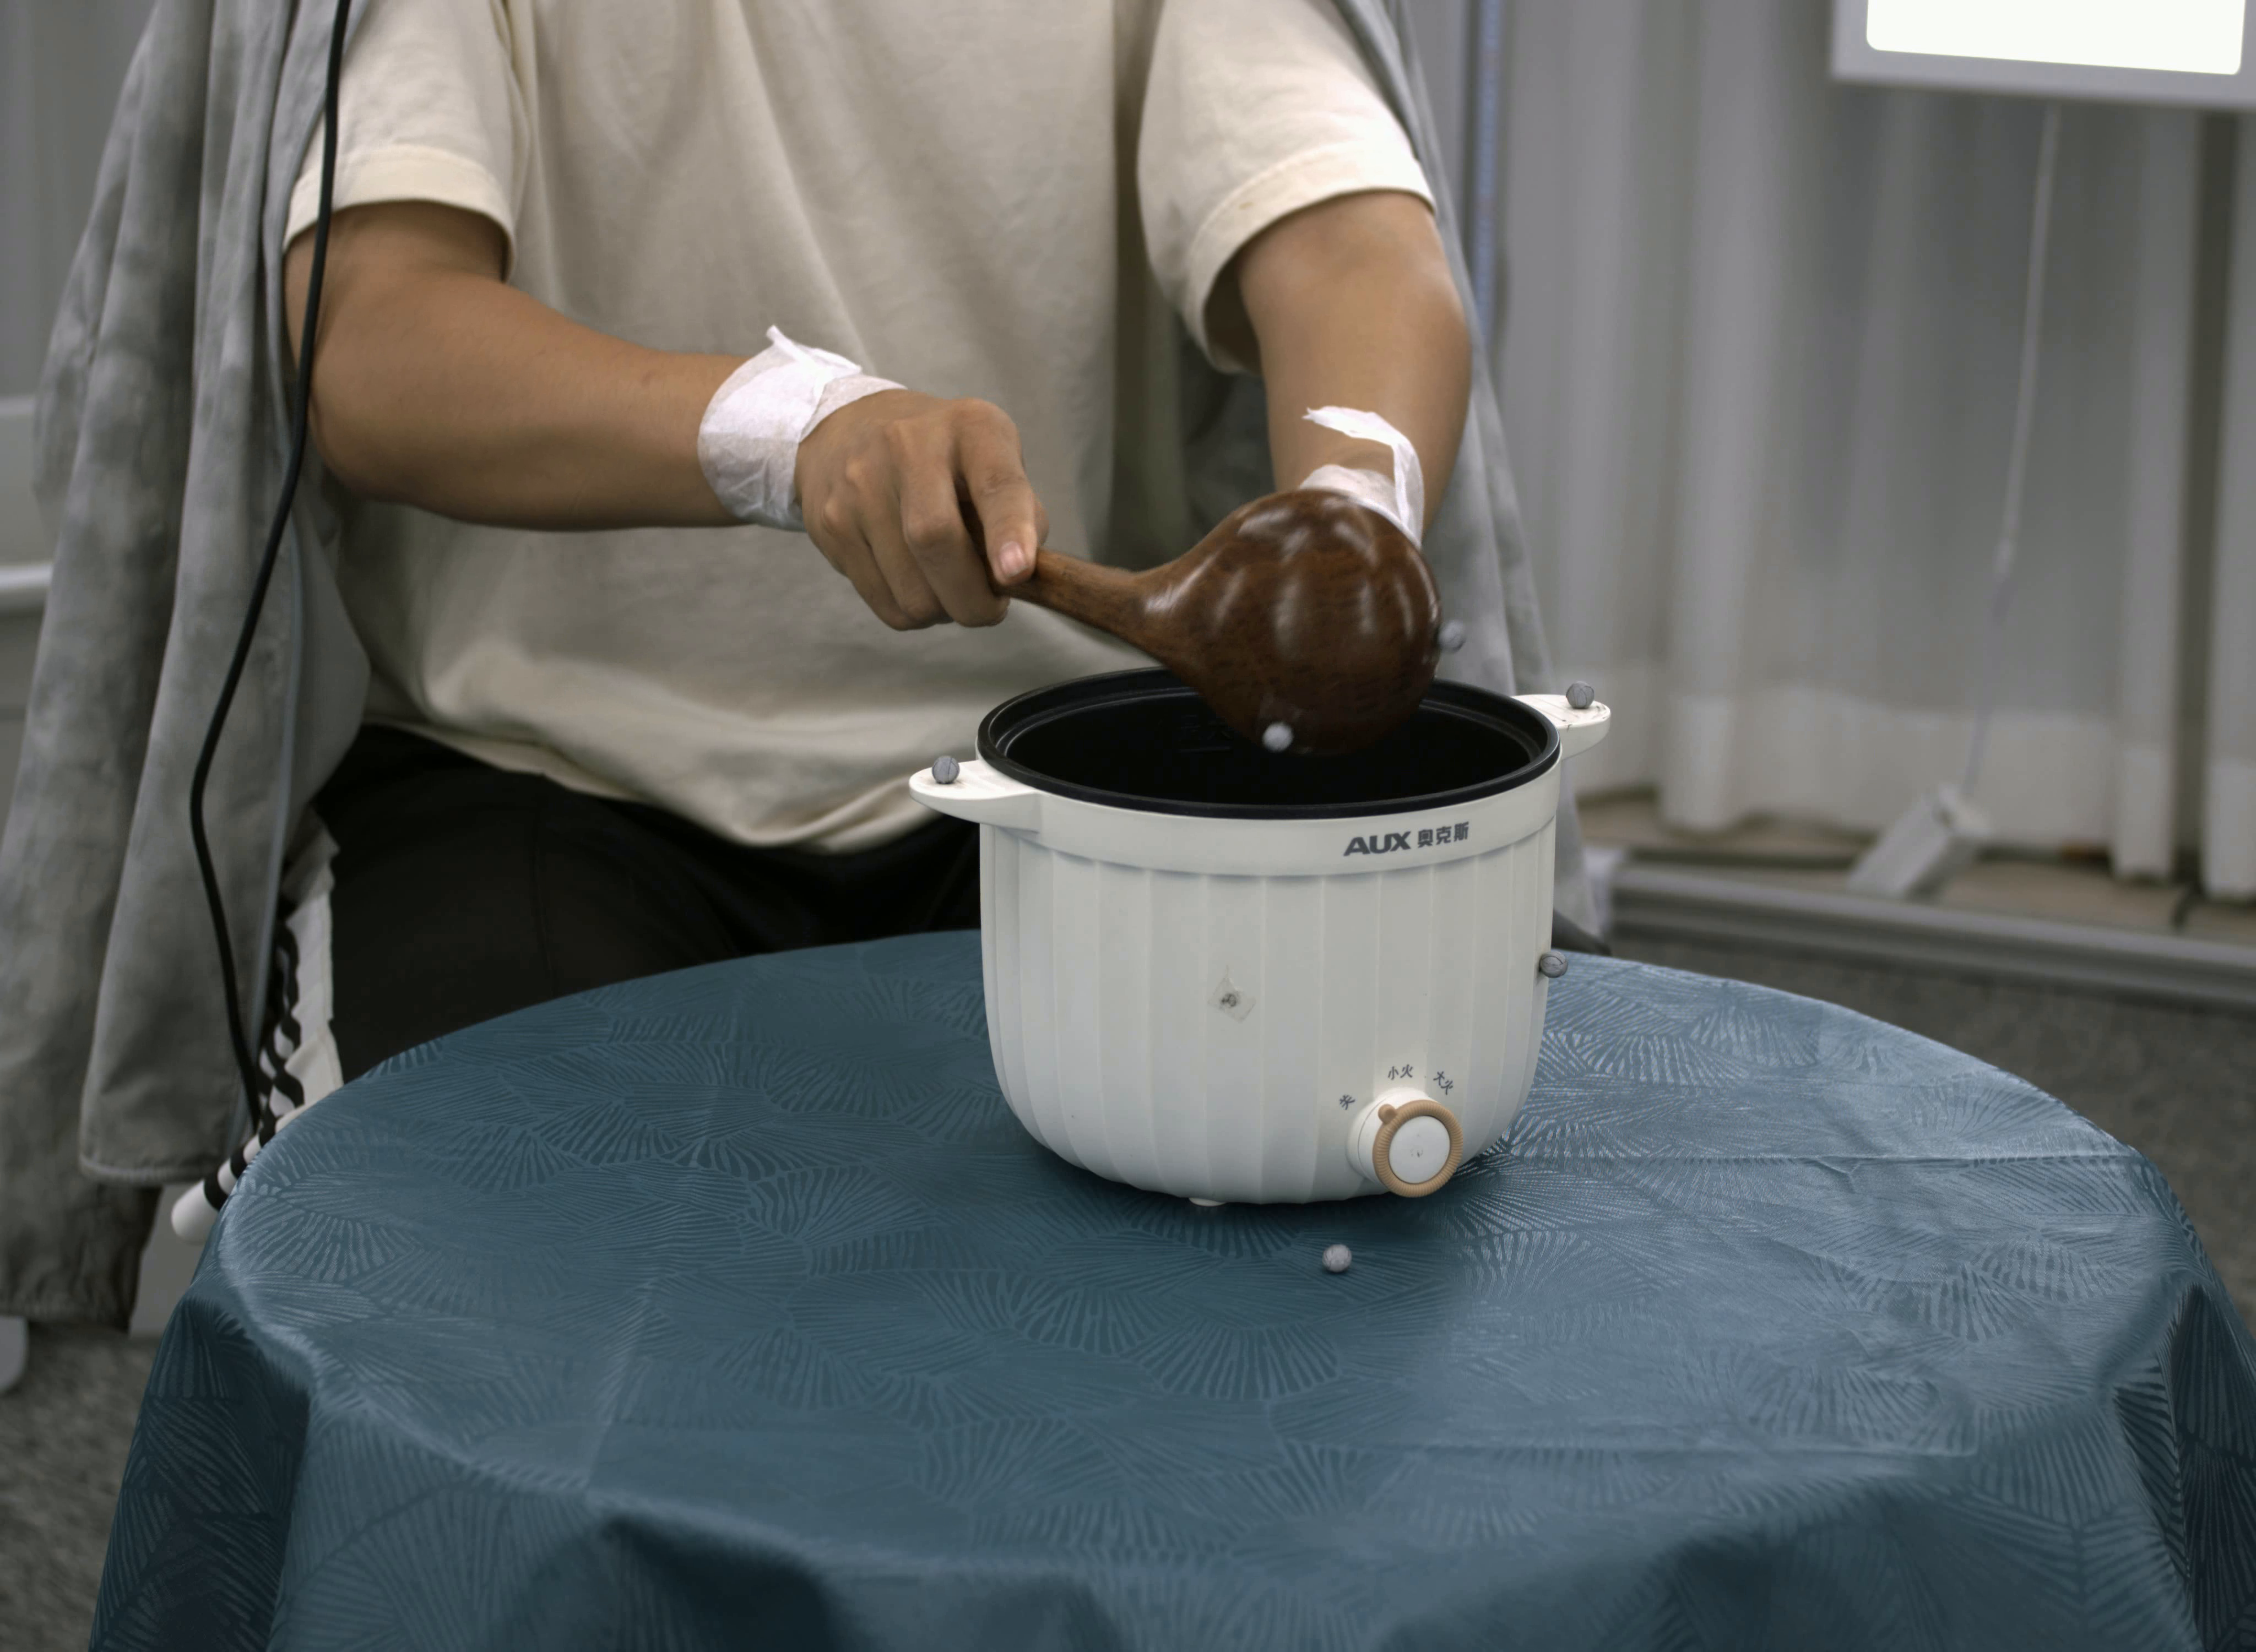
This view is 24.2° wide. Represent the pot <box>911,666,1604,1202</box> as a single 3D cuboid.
[{"bbox_3d":[0.047,0.035,1.645,0.241,0.144,0.188,-9,15,-26],"label":"pot"}]

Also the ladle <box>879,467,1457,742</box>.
[{"bbox_3d":[0.010,-0.077,1.657,0.077,0.082,0.271,2,6,-27],"label":"ladle"}]
